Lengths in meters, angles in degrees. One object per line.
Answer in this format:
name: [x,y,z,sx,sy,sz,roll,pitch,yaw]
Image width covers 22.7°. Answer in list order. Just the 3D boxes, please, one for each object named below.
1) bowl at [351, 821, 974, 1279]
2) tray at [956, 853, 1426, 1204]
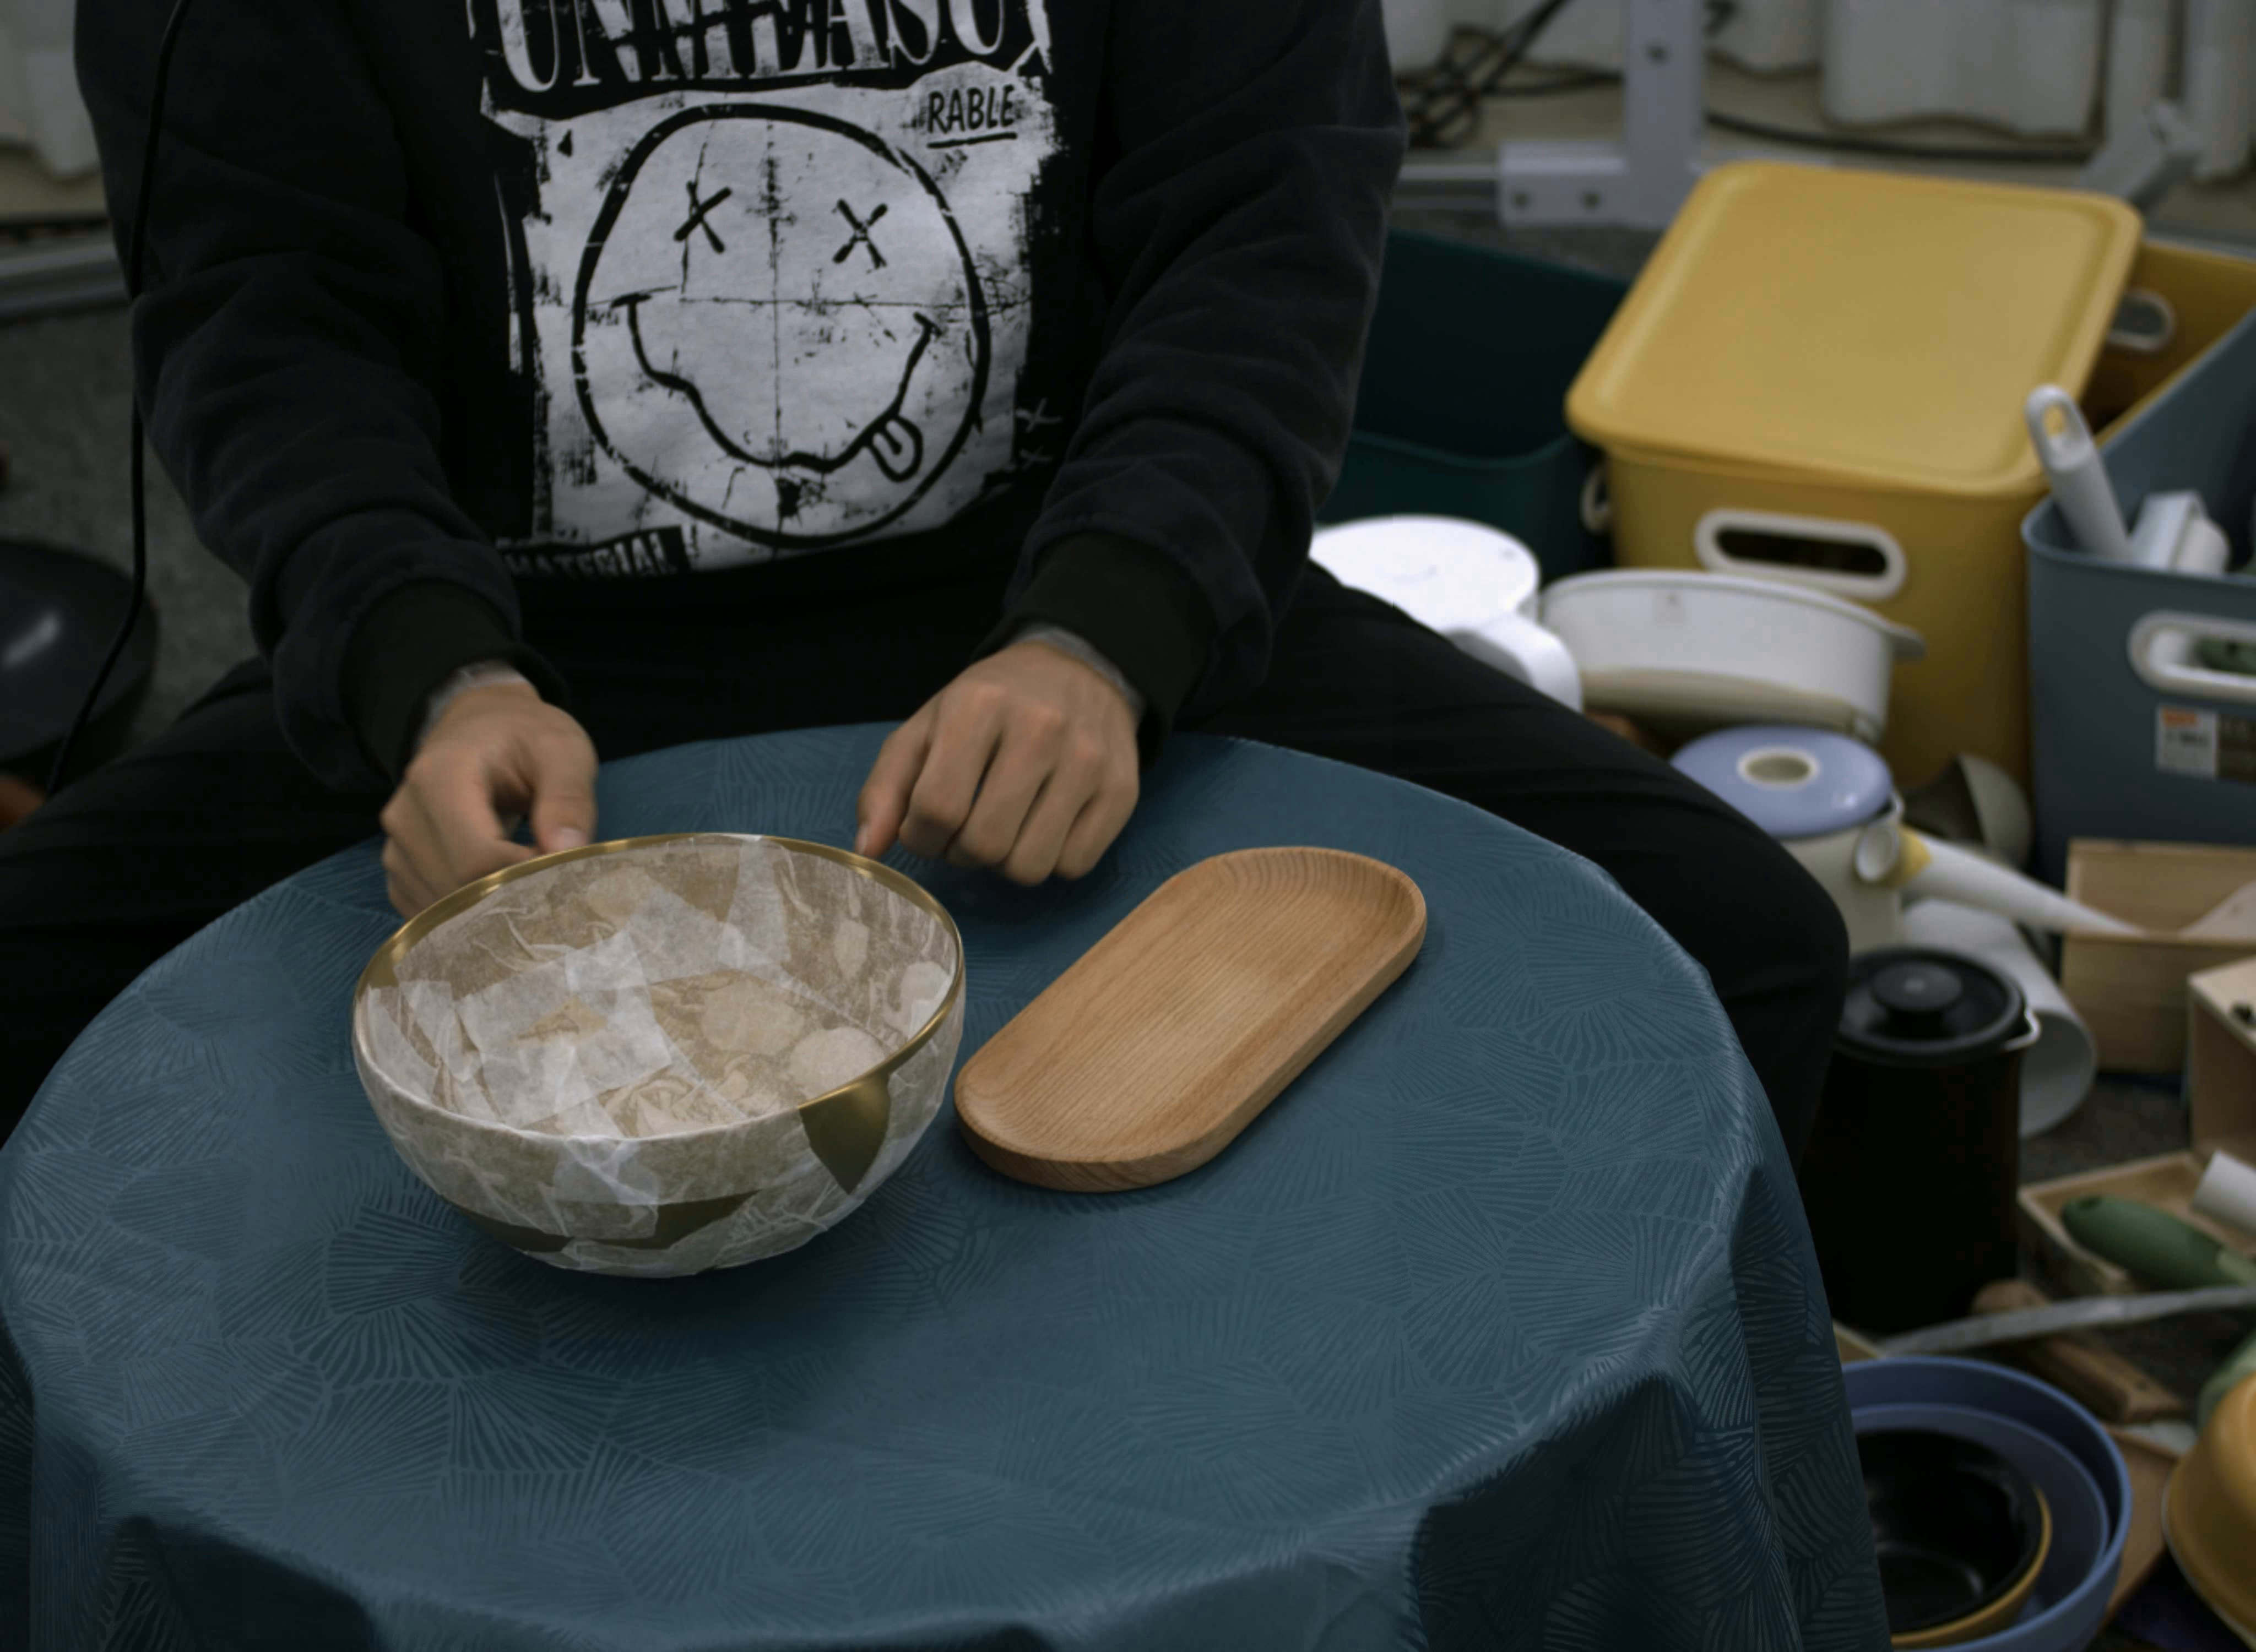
bowl: [-0.146,0.086,1.844,0.213,0.093,0.218,-4,27,2]
tray: [0.024,0.068,1.946,0.101,0.020,0.235,10,32,27]
